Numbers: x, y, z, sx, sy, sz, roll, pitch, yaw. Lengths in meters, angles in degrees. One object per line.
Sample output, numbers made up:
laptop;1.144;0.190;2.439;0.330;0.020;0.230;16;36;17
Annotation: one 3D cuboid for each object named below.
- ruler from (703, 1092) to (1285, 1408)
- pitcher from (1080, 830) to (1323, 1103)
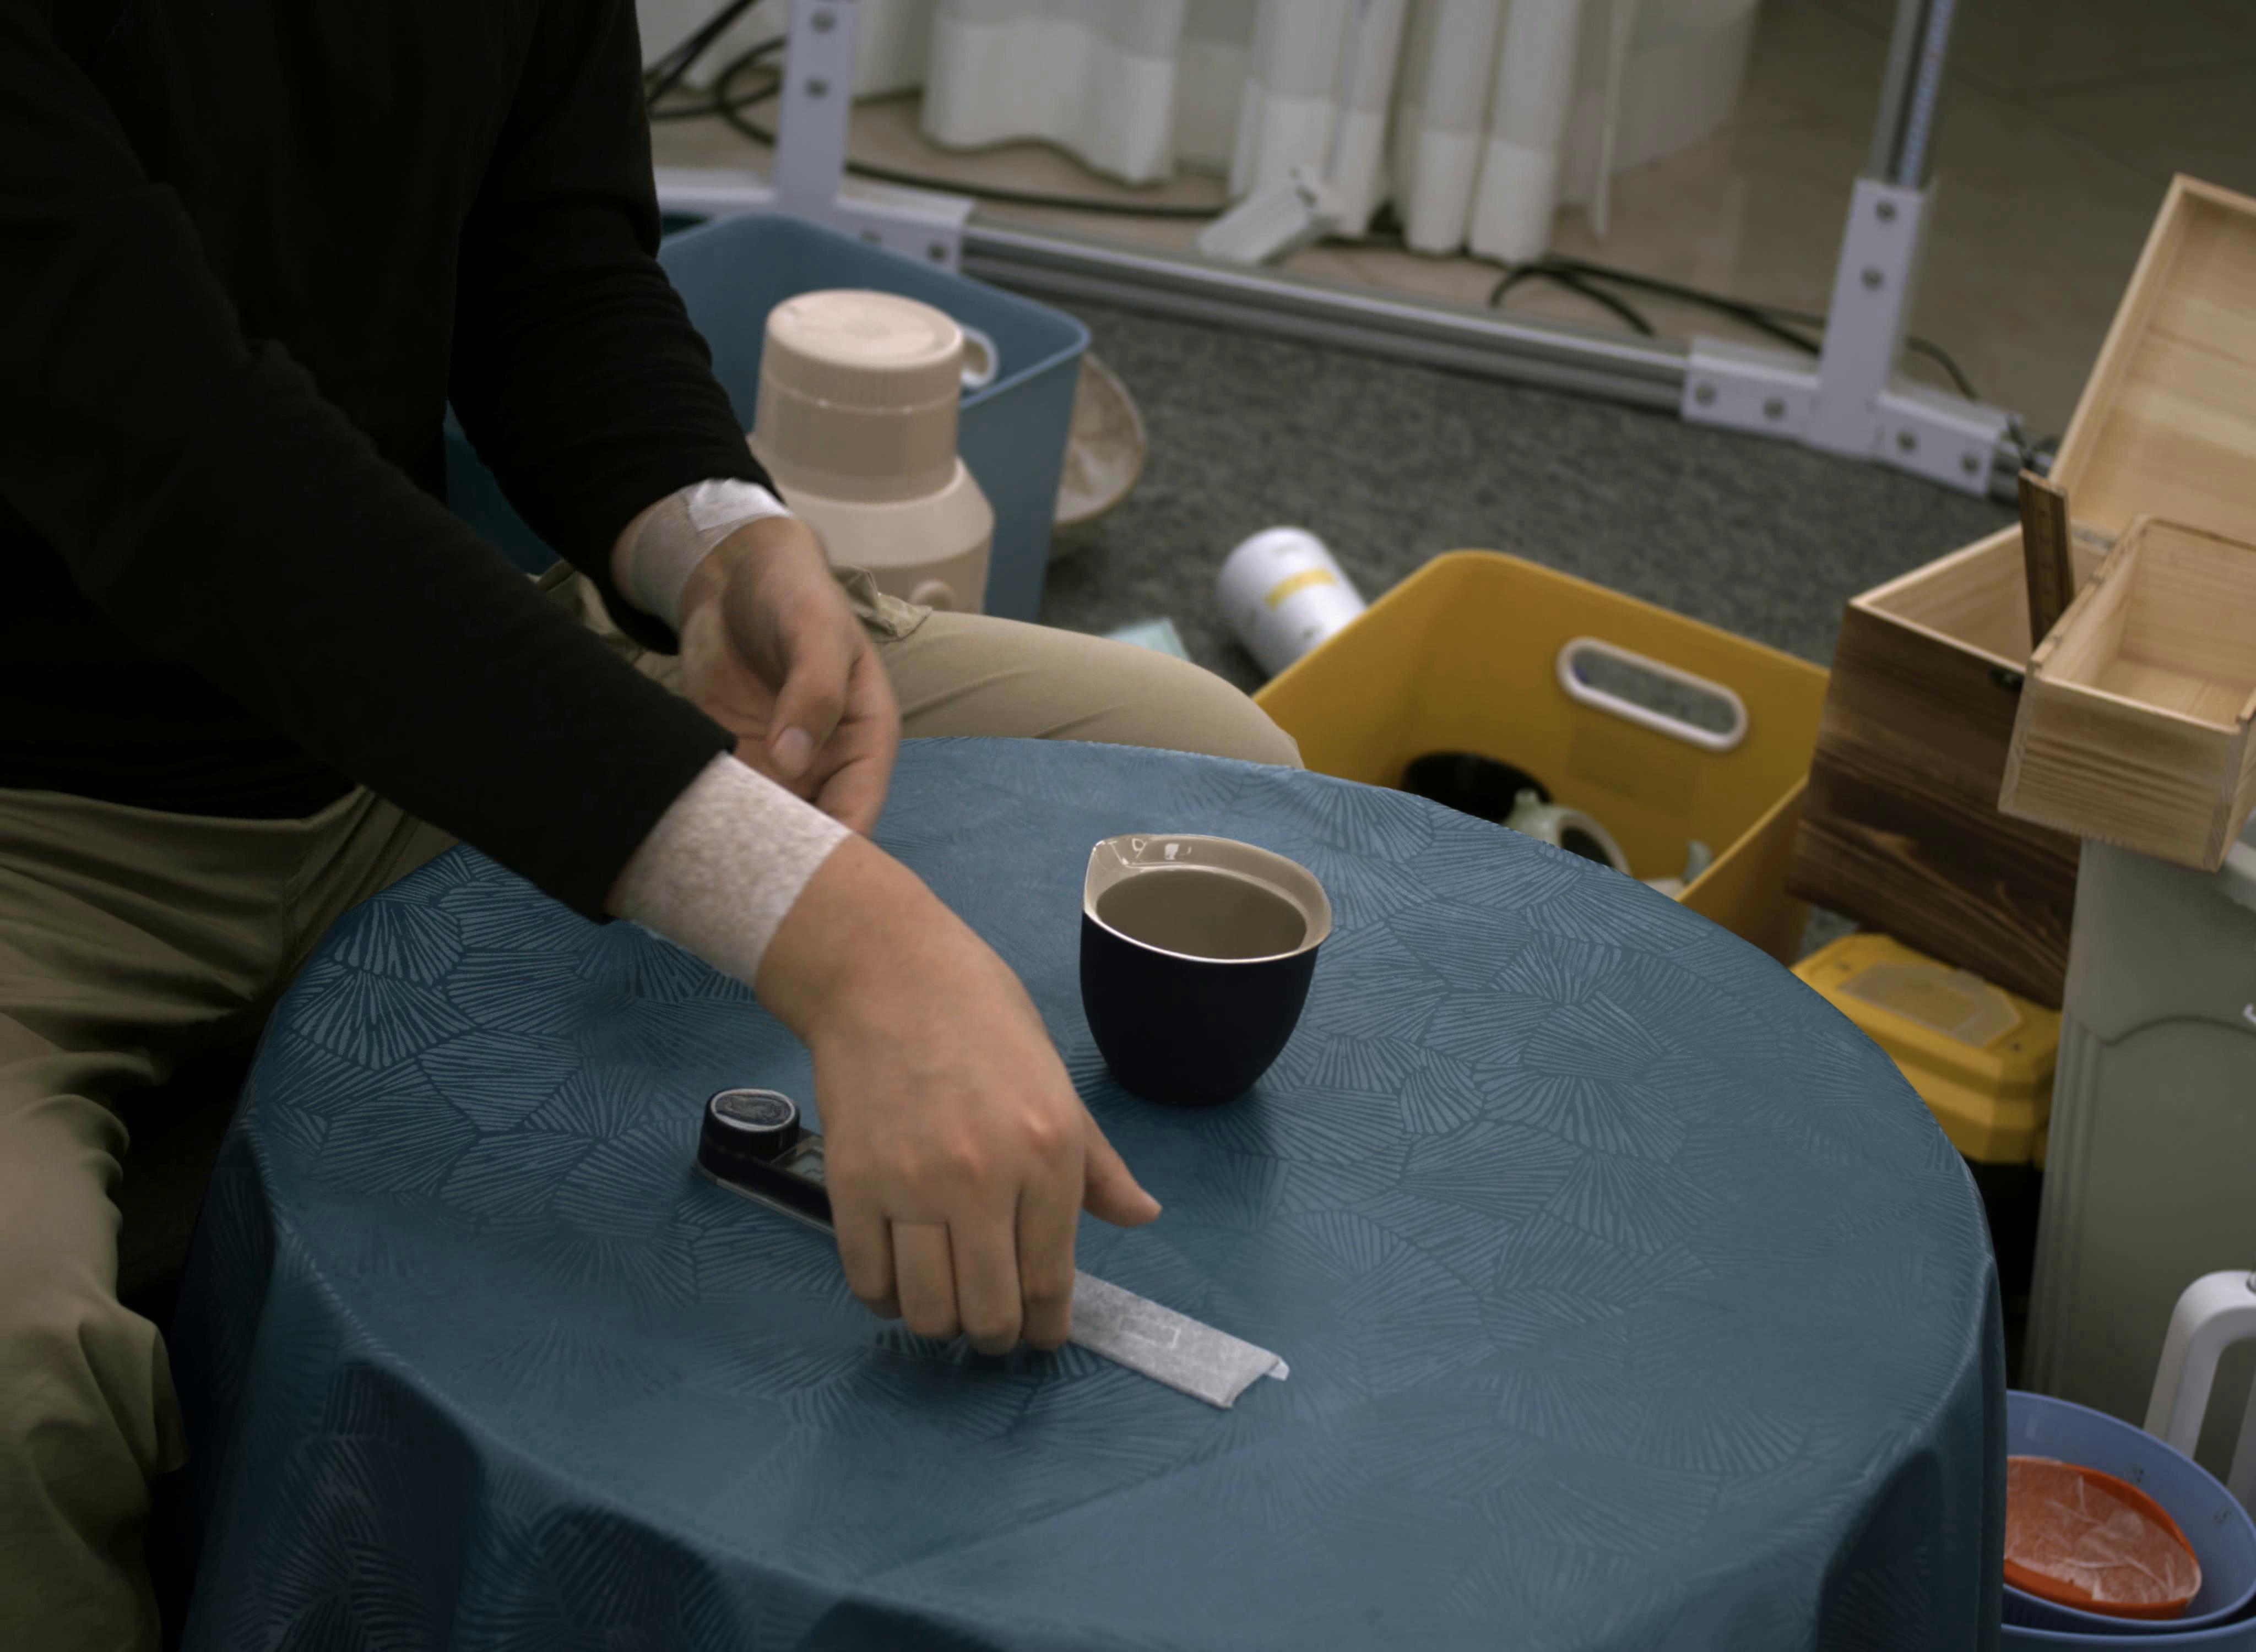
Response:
ruler;-0.049;0.136;1.743;0.219;0.024;0.038;21;38;28
pitcher;0.020;0.052;1.866;0.083;0.071;0.097;-17;36;-37
